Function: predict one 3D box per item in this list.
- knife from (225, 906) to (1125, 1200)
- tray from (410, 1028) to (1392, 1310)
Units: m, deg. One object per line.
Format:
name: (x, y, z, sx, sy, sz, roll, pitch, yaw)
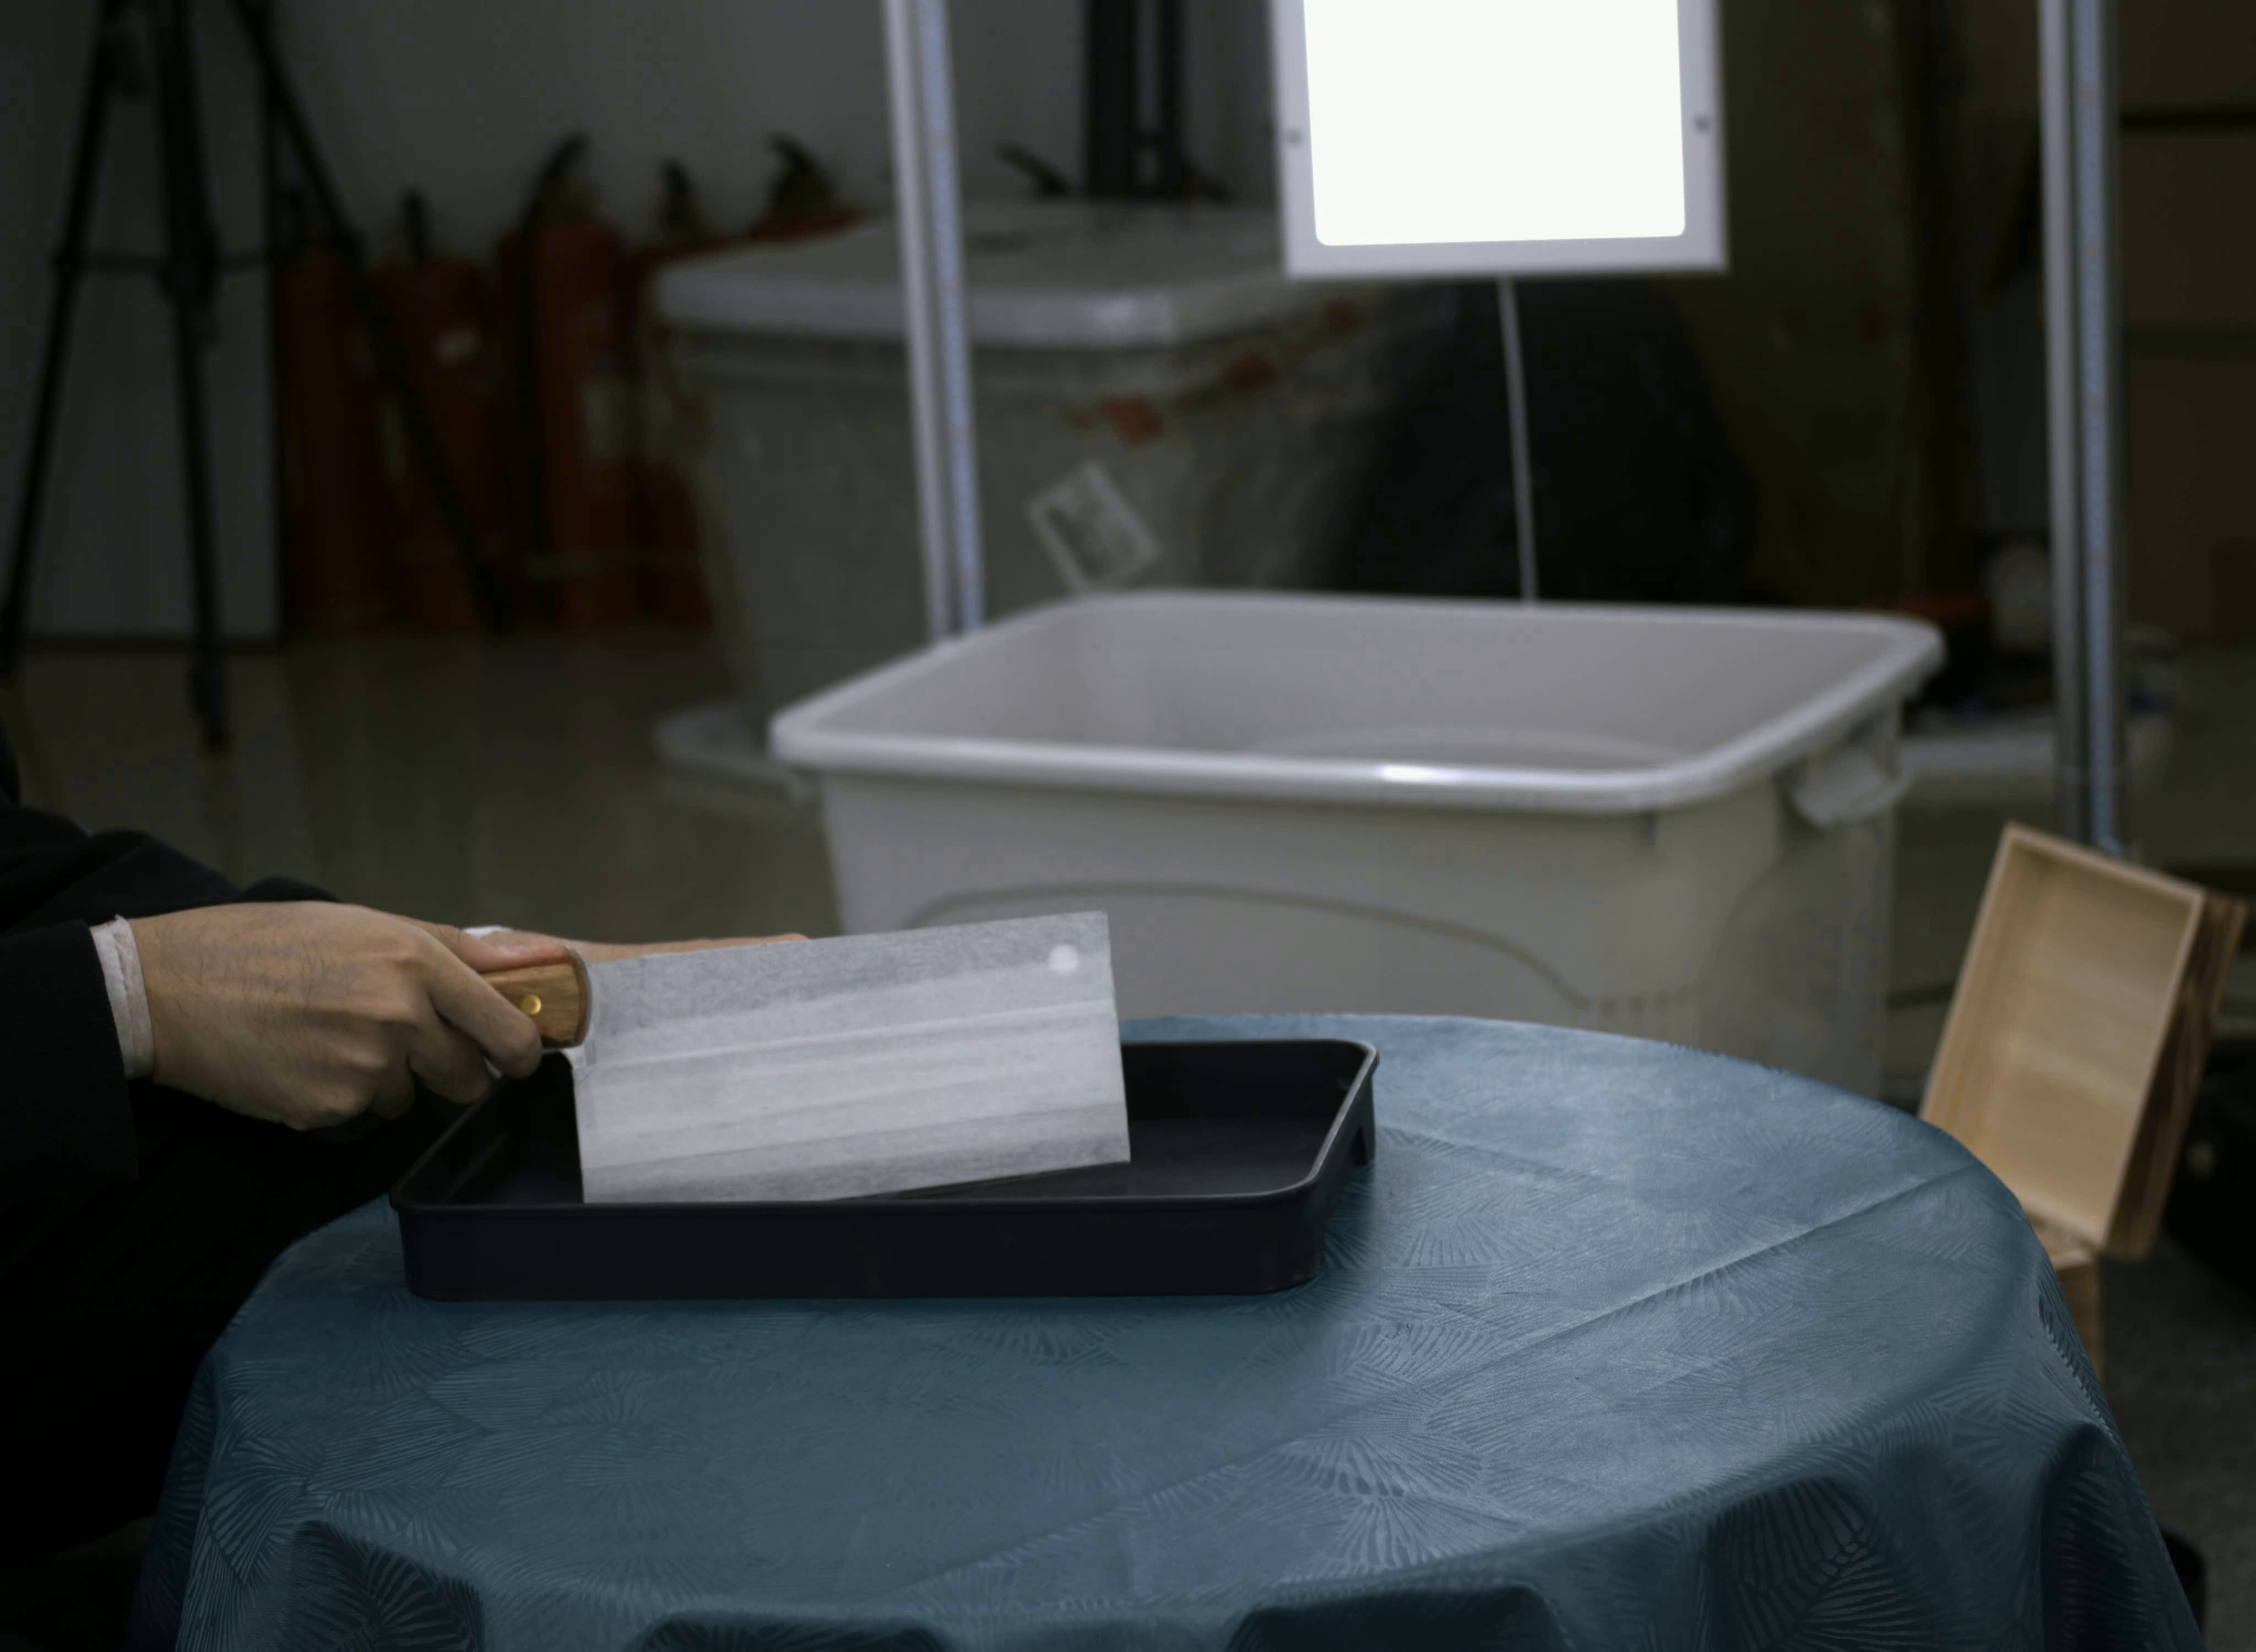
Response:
knife: (-0.154, 0.087, 1.893, 0.304, 0.093, 0.021, -6, 2, -1)
tray: (-0.073, 0.116, 1.890, 0.320, 0.037, 0.182, -3, 15, 12)
